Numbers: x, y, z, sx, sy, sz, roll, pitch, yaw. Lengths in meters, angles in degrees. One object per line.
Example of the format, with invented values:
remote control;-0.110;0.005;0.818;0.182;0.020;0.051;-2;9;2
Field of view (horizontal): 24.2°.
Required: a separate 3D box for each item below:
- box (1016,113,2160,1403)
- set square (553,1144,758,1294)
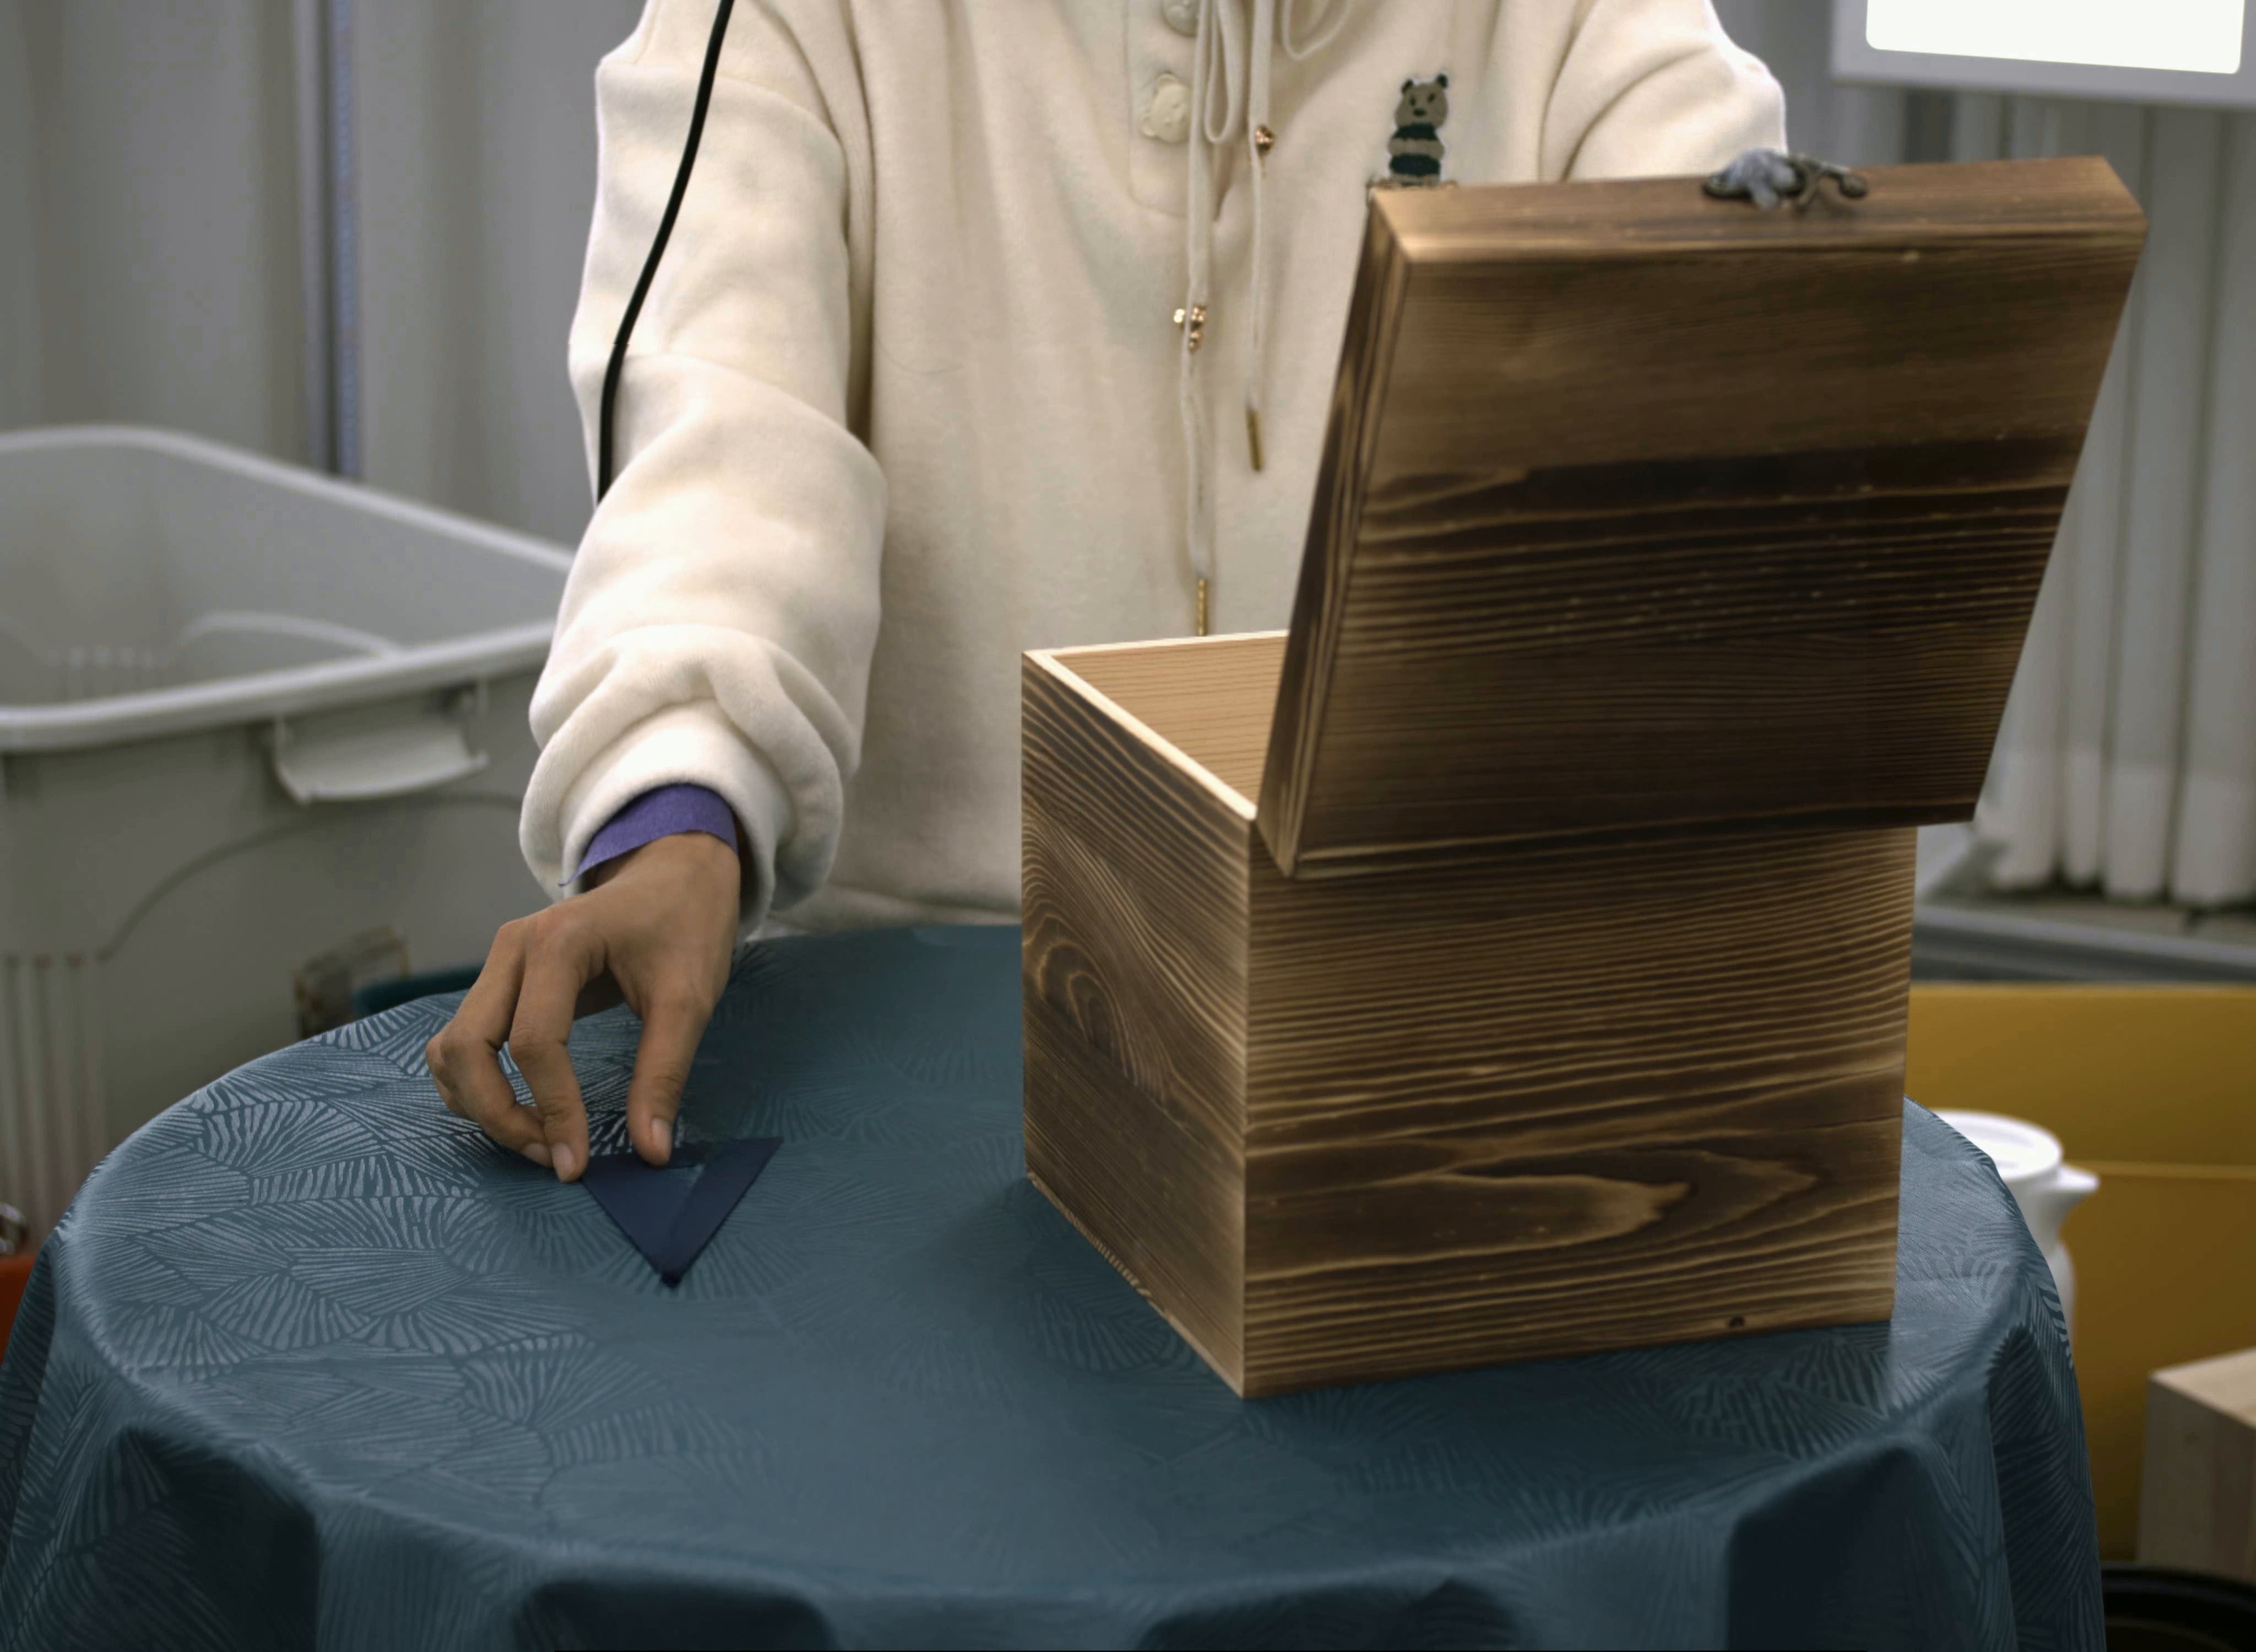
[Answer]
box;0.114;-0.032;1.479;0.209;0.378;0.318;-5;18;-19
set square;-0.158;0.115;1.595;0.061;0.006;0.132;8;16;12
